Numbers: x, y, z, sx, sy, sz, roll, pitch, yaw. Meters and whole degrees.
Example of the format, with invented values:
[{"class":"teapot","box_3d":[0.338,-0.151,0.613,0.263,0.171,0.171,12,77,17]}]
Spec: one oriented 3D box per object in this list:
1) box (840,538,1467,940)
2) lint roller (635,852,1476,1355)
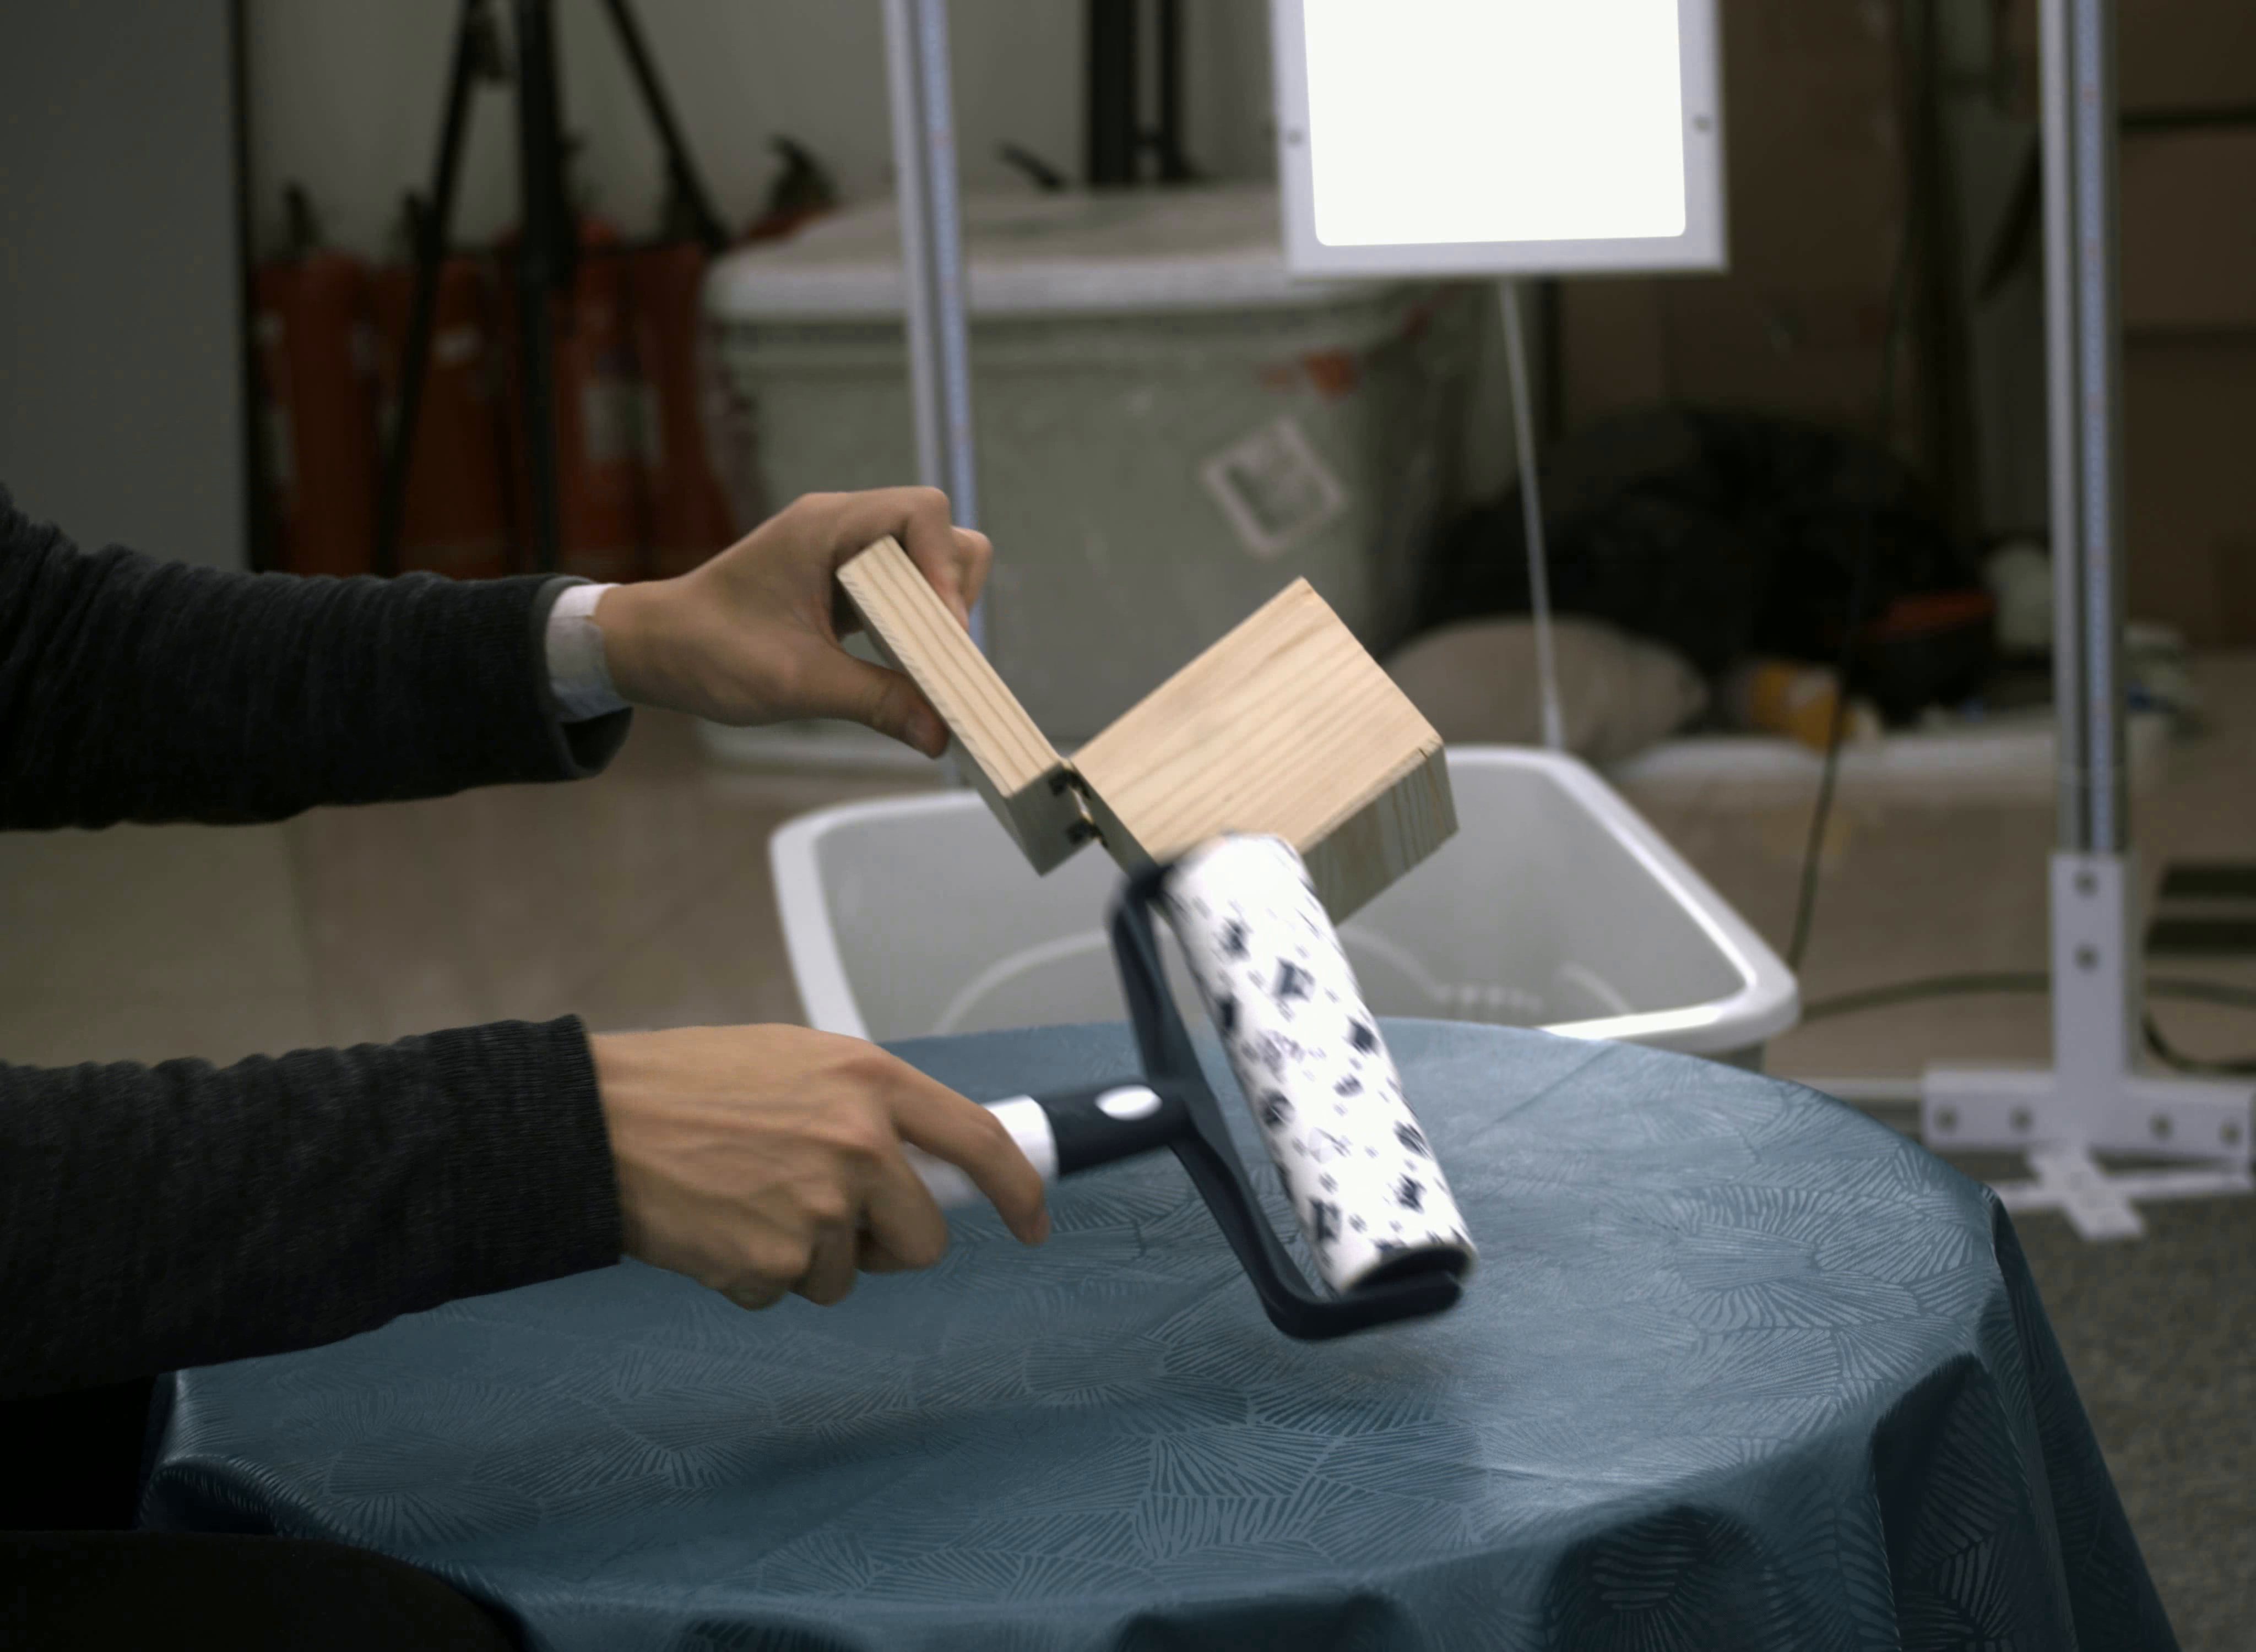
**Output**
[{"class":"box","box_3d":[0.011,-0.044,1.887,0.133,0.186,0.102,-38,-18,-4]},{"class":"lint roller","box_3d":[-0.031,0.101,1.702,0.243,0.051,0.177,-11,54,-16]}]
